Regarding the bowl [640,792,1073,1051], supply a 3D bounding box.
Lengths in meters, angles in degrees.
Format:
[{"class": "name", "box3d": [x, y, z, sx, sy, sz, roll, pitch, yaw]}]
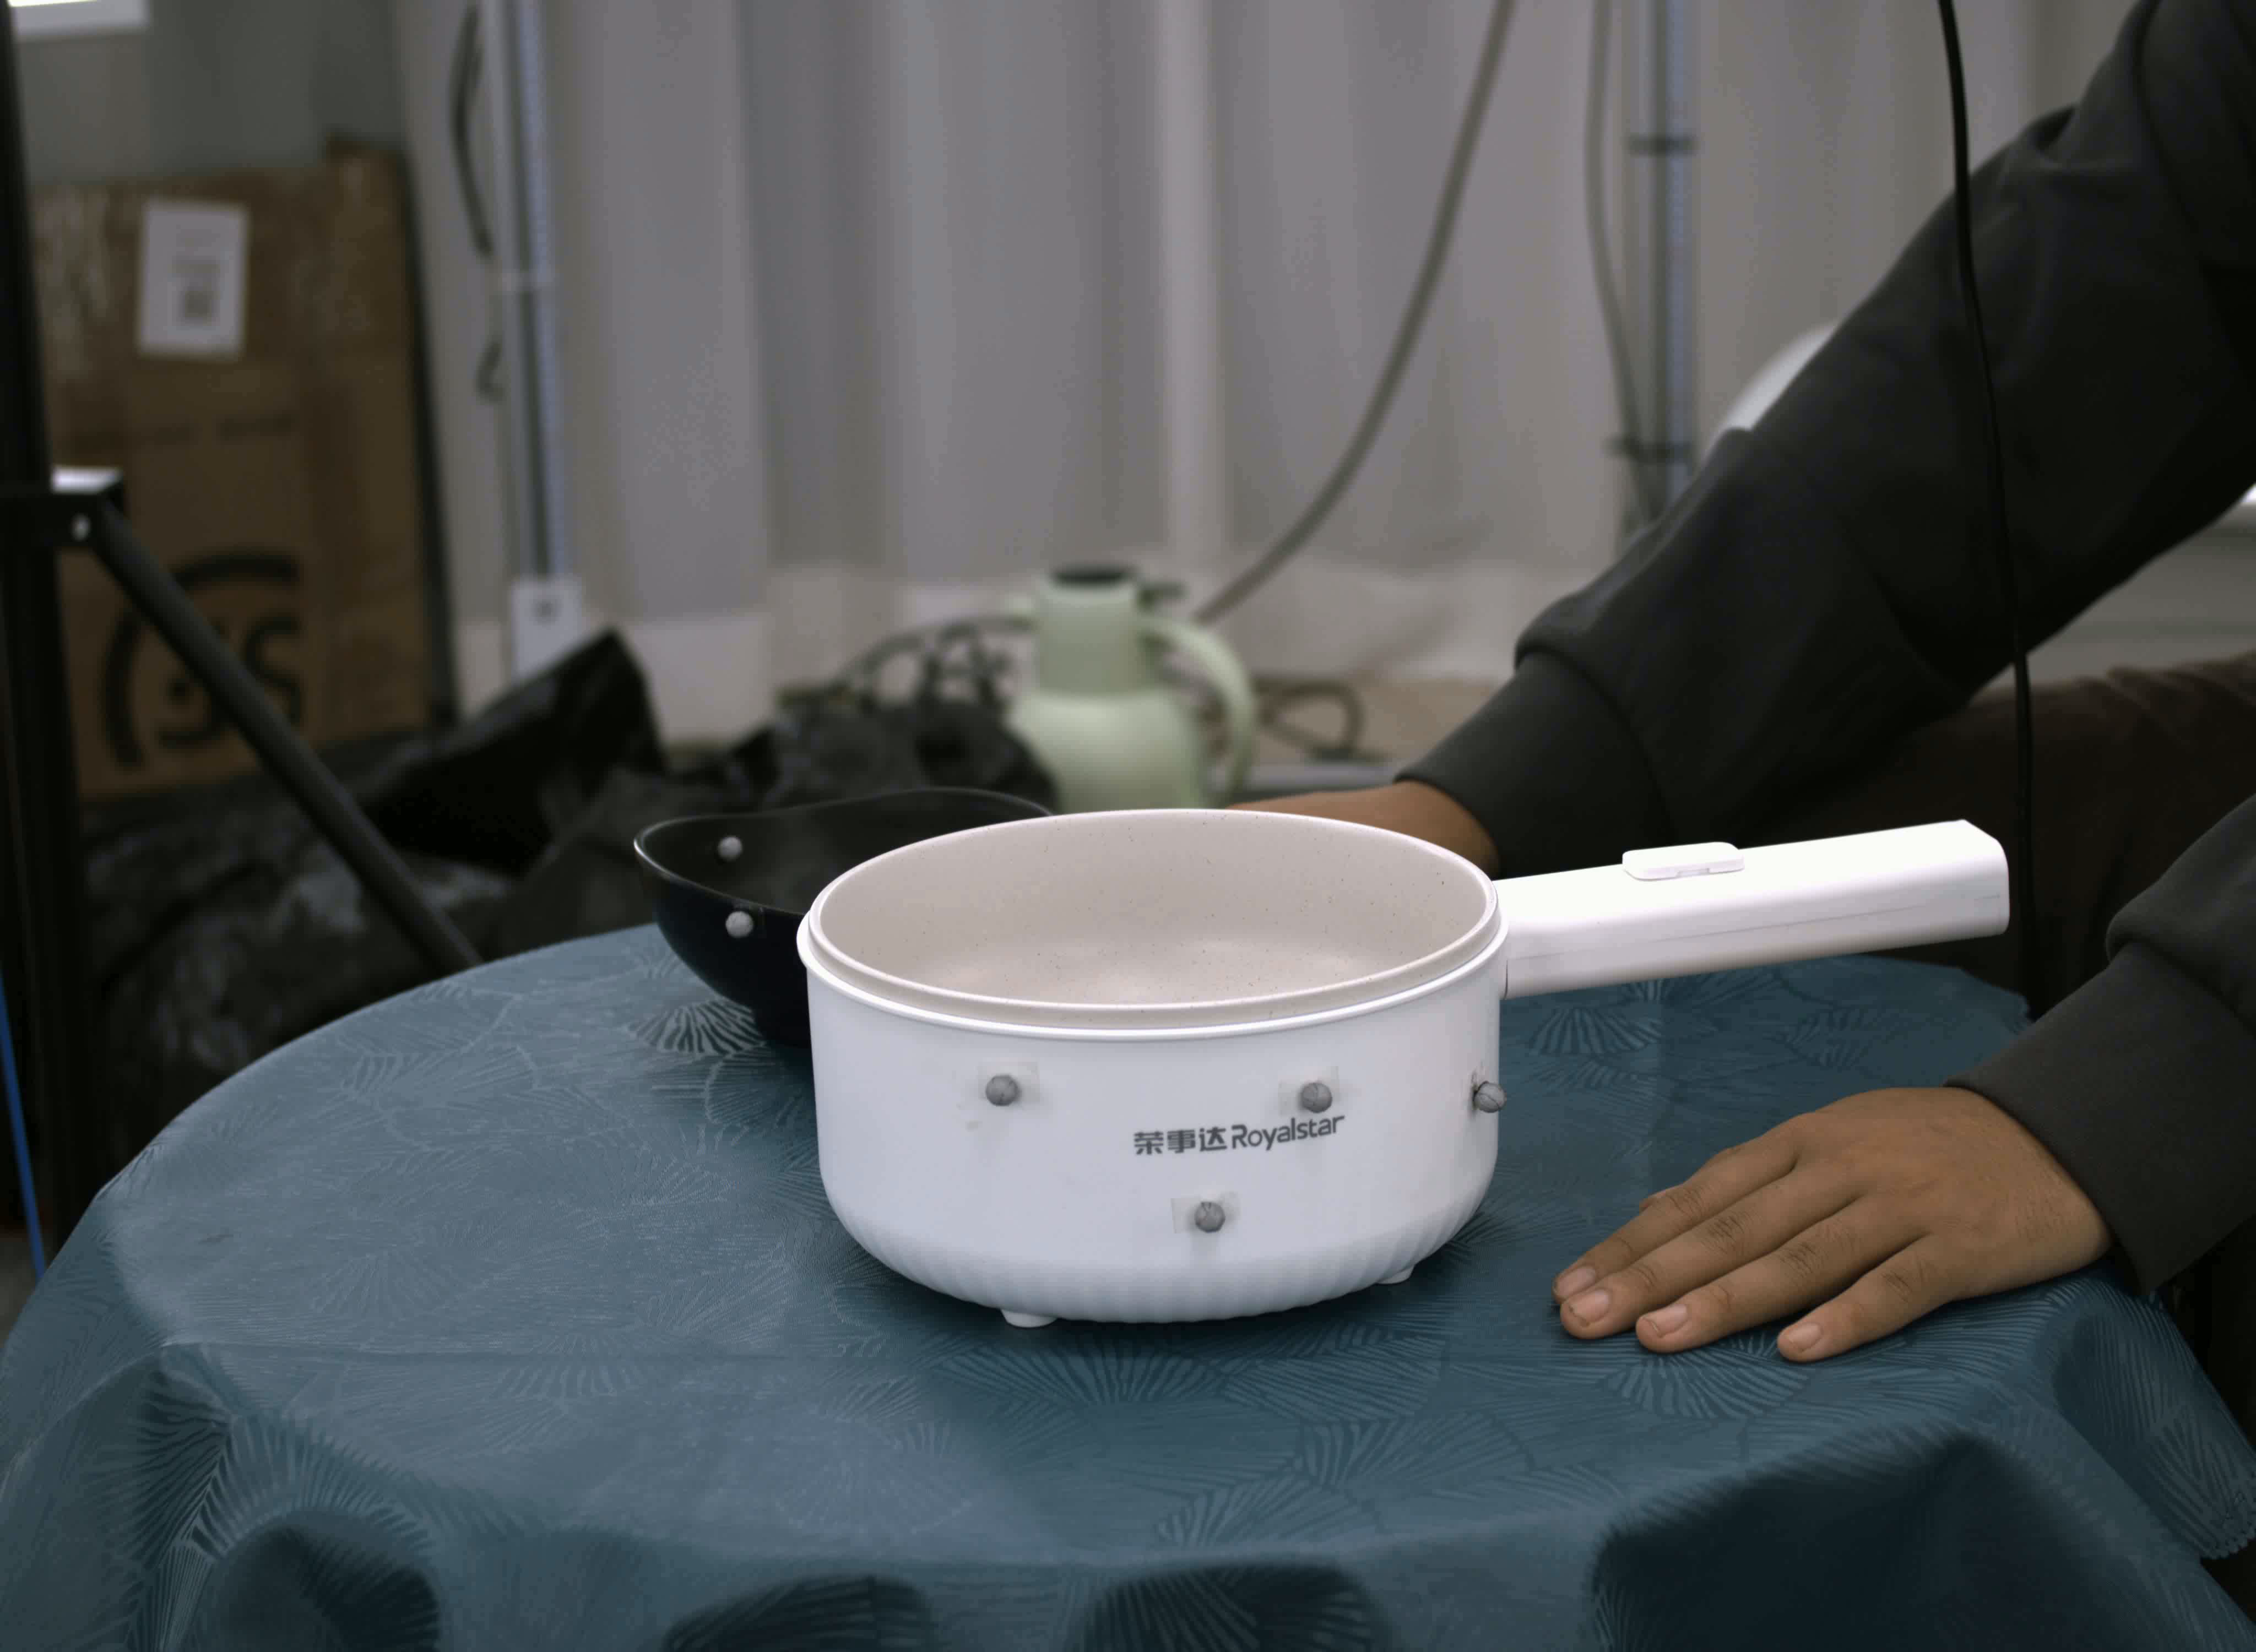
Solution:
[{"class": "bowl", "box3d": [-0.088, 0.033, 1.716, 0.135, 0.067, 0.173, -7, 15, -20]}]

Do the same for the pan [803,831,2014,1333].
[{"class": "pan", "box3d": [0.083, 0.069, 1.523, 0.349, 0.102, 0.204, -4, 14, -13]}]
